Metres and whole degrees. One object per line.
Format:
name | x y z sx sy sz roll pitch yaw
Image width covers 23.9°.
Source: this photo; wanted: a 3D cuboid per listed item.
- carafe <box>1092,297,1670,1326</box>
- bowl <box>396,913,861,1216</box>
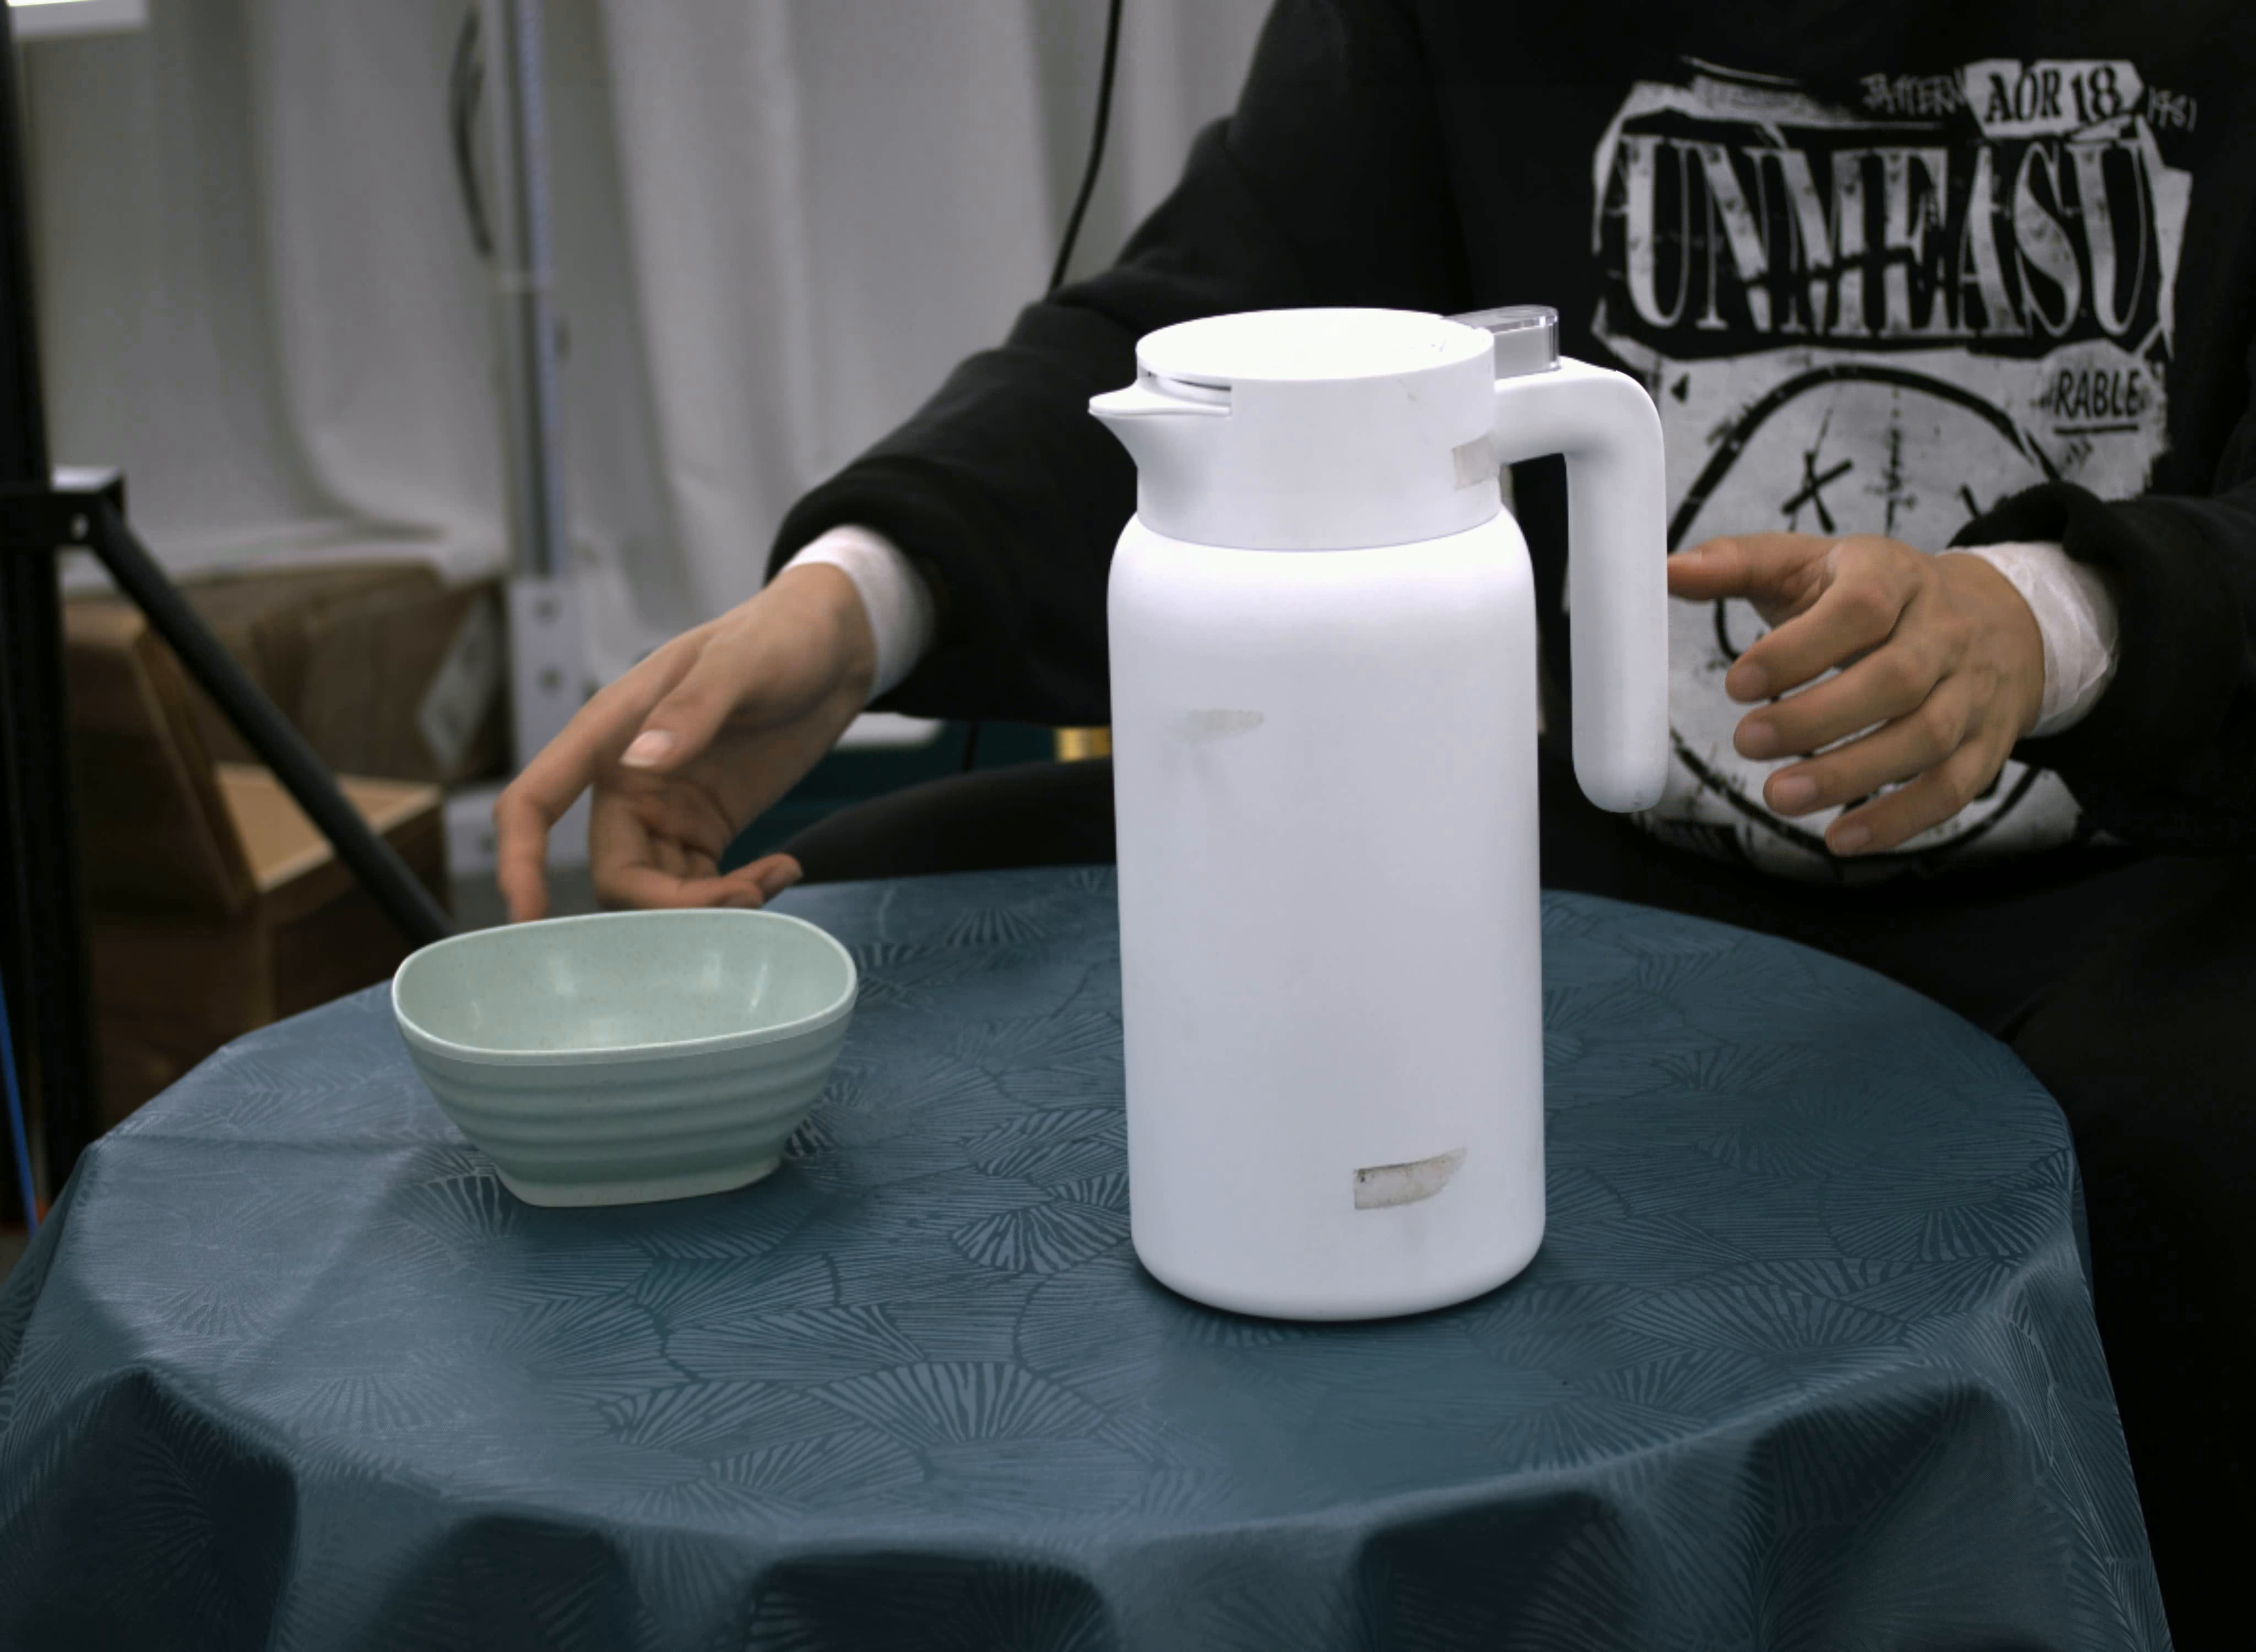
carafe | 0.071 -0.008 1.465 0.169 0.269 0.126 -10 15 -26
bowl | -0.149 0.075 1.601 0.150 0.058 0.152 -3 16 -1
